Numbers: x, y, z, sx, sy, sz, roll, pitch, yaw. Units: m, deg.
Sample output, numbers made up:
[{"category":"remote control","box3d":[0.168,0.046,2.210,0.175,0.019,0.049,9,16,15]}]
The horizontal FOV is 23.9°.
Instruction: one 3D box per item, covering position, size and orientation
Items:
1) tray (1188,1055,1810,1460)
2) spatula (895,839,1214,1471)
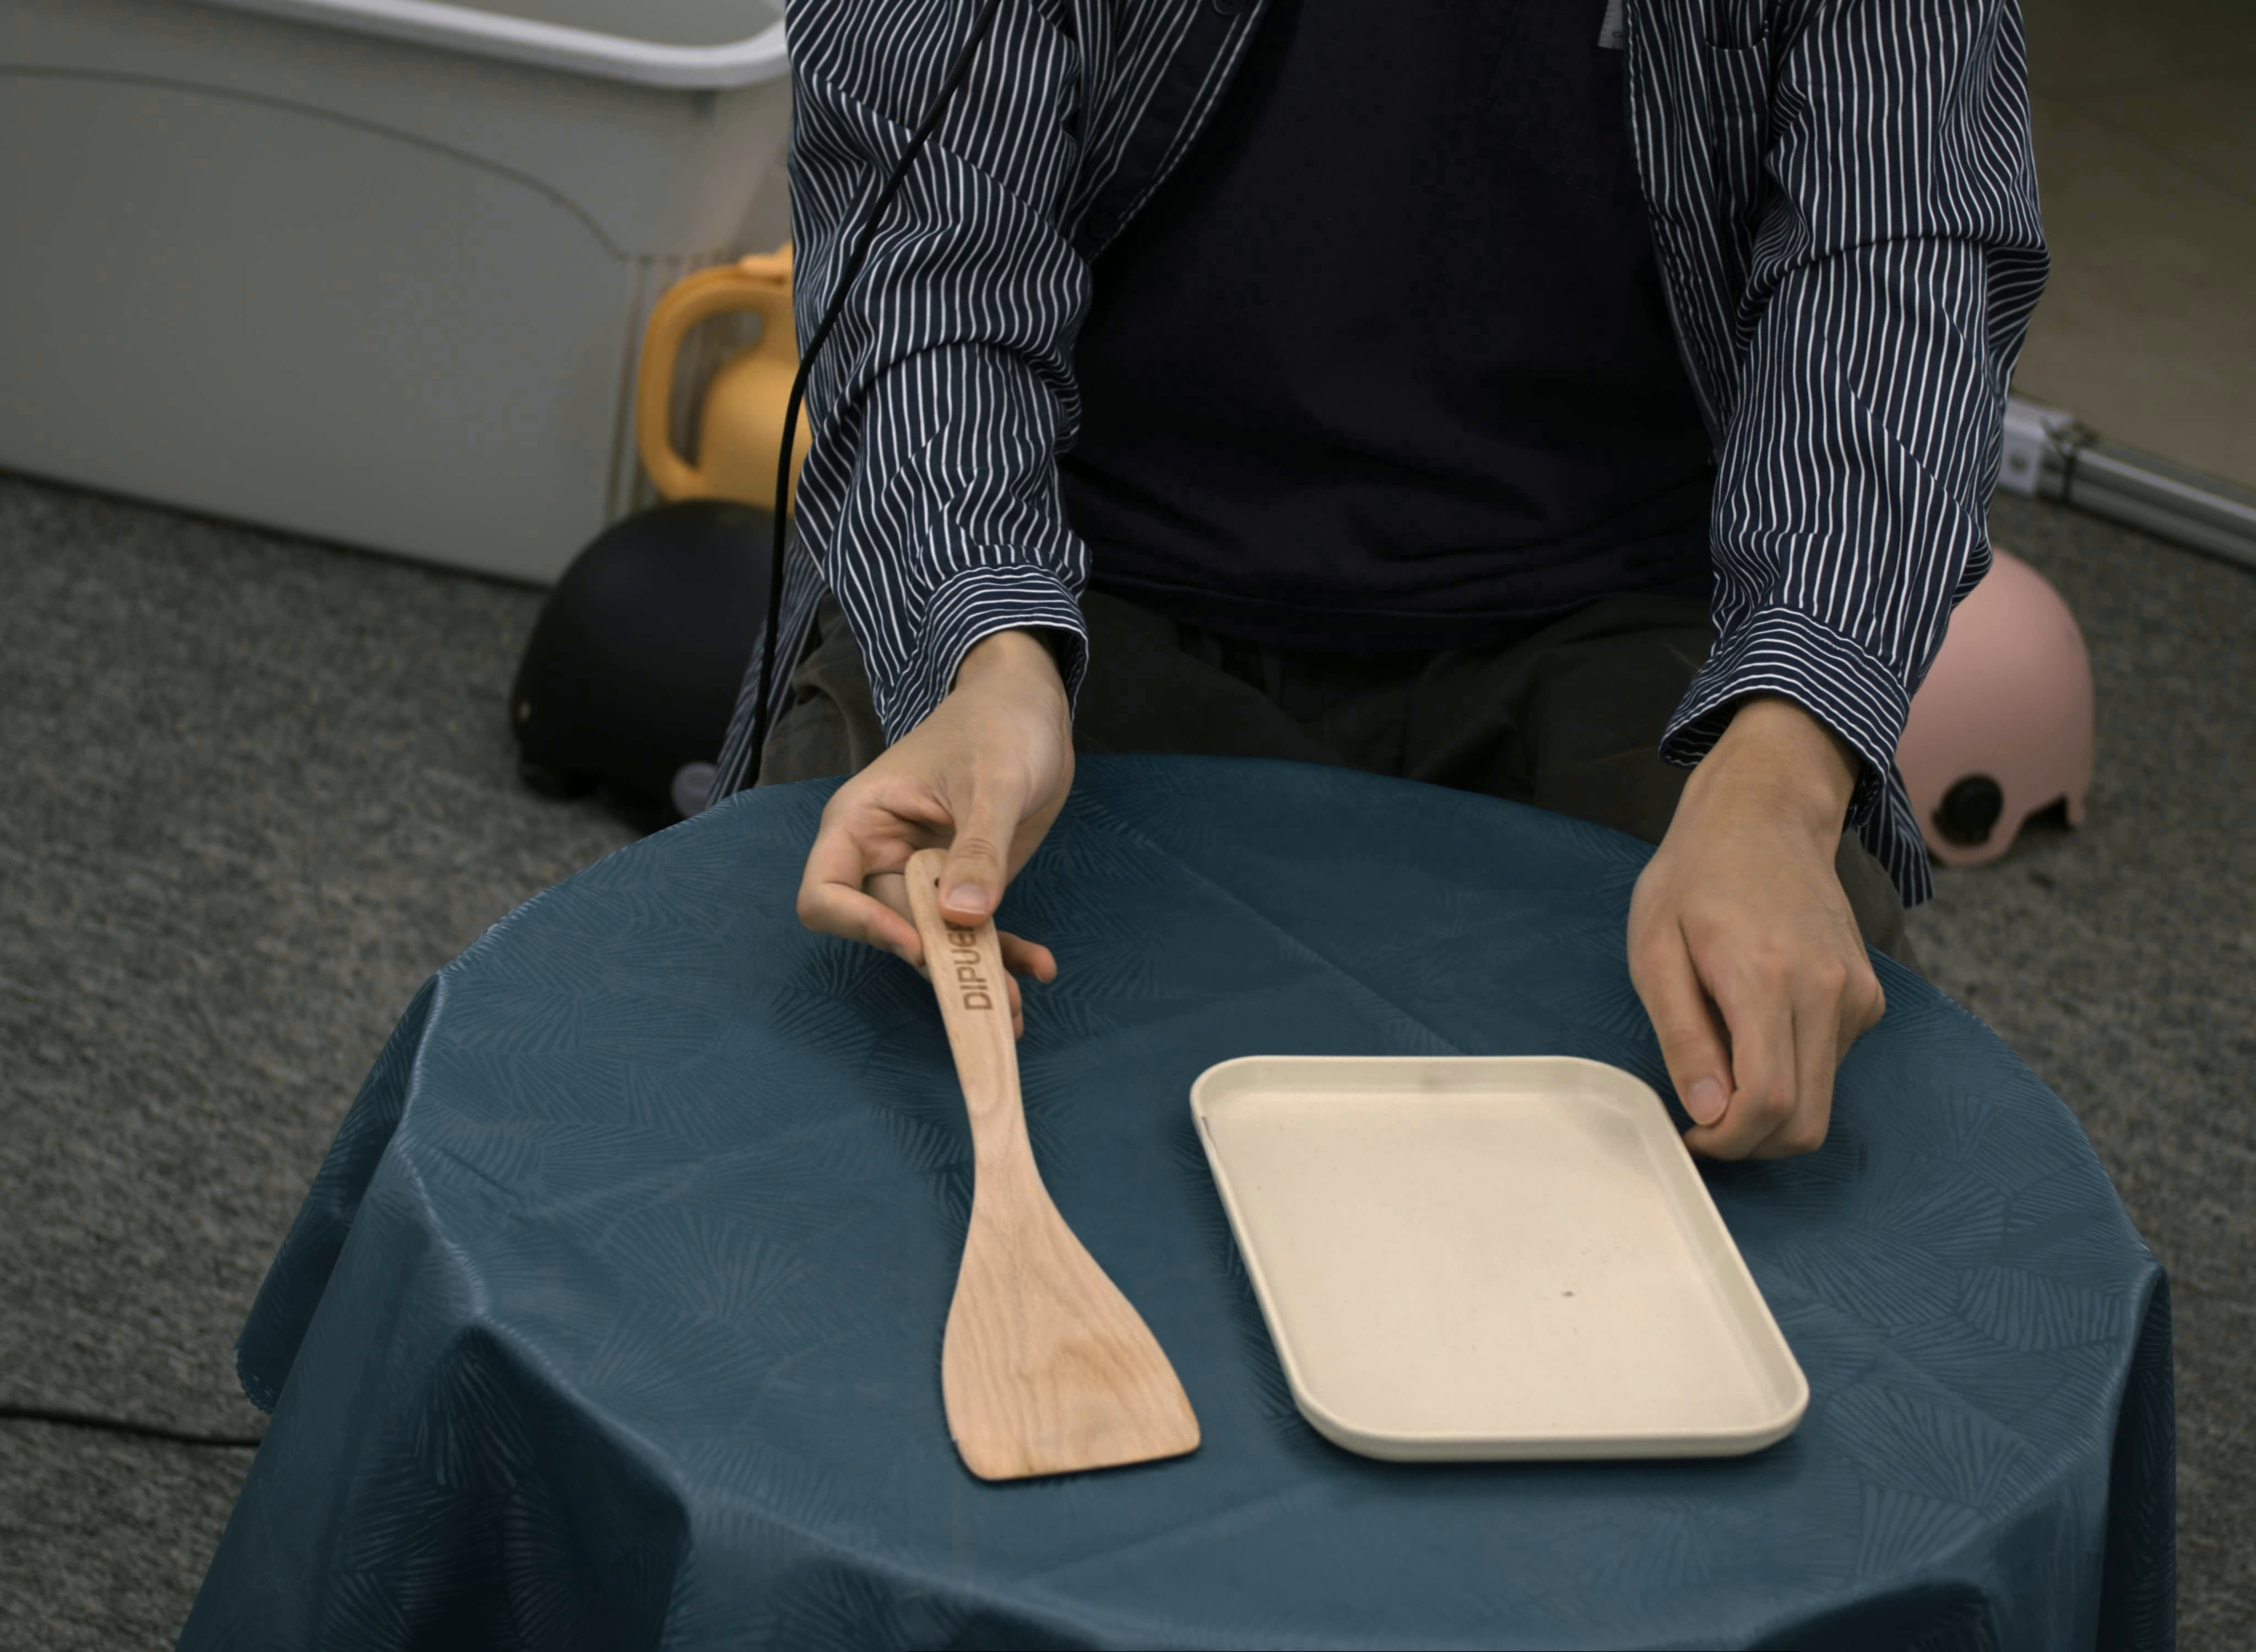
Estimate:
[{"category":"tray","box3d":[0.119,0.142,1.768,0.170,0.017,0.241,1,27,-11]},{"category":"spatula","box3d":[-0.039,0.103,1.773,0.079,0.016,0.330,0,38,-14]}]
